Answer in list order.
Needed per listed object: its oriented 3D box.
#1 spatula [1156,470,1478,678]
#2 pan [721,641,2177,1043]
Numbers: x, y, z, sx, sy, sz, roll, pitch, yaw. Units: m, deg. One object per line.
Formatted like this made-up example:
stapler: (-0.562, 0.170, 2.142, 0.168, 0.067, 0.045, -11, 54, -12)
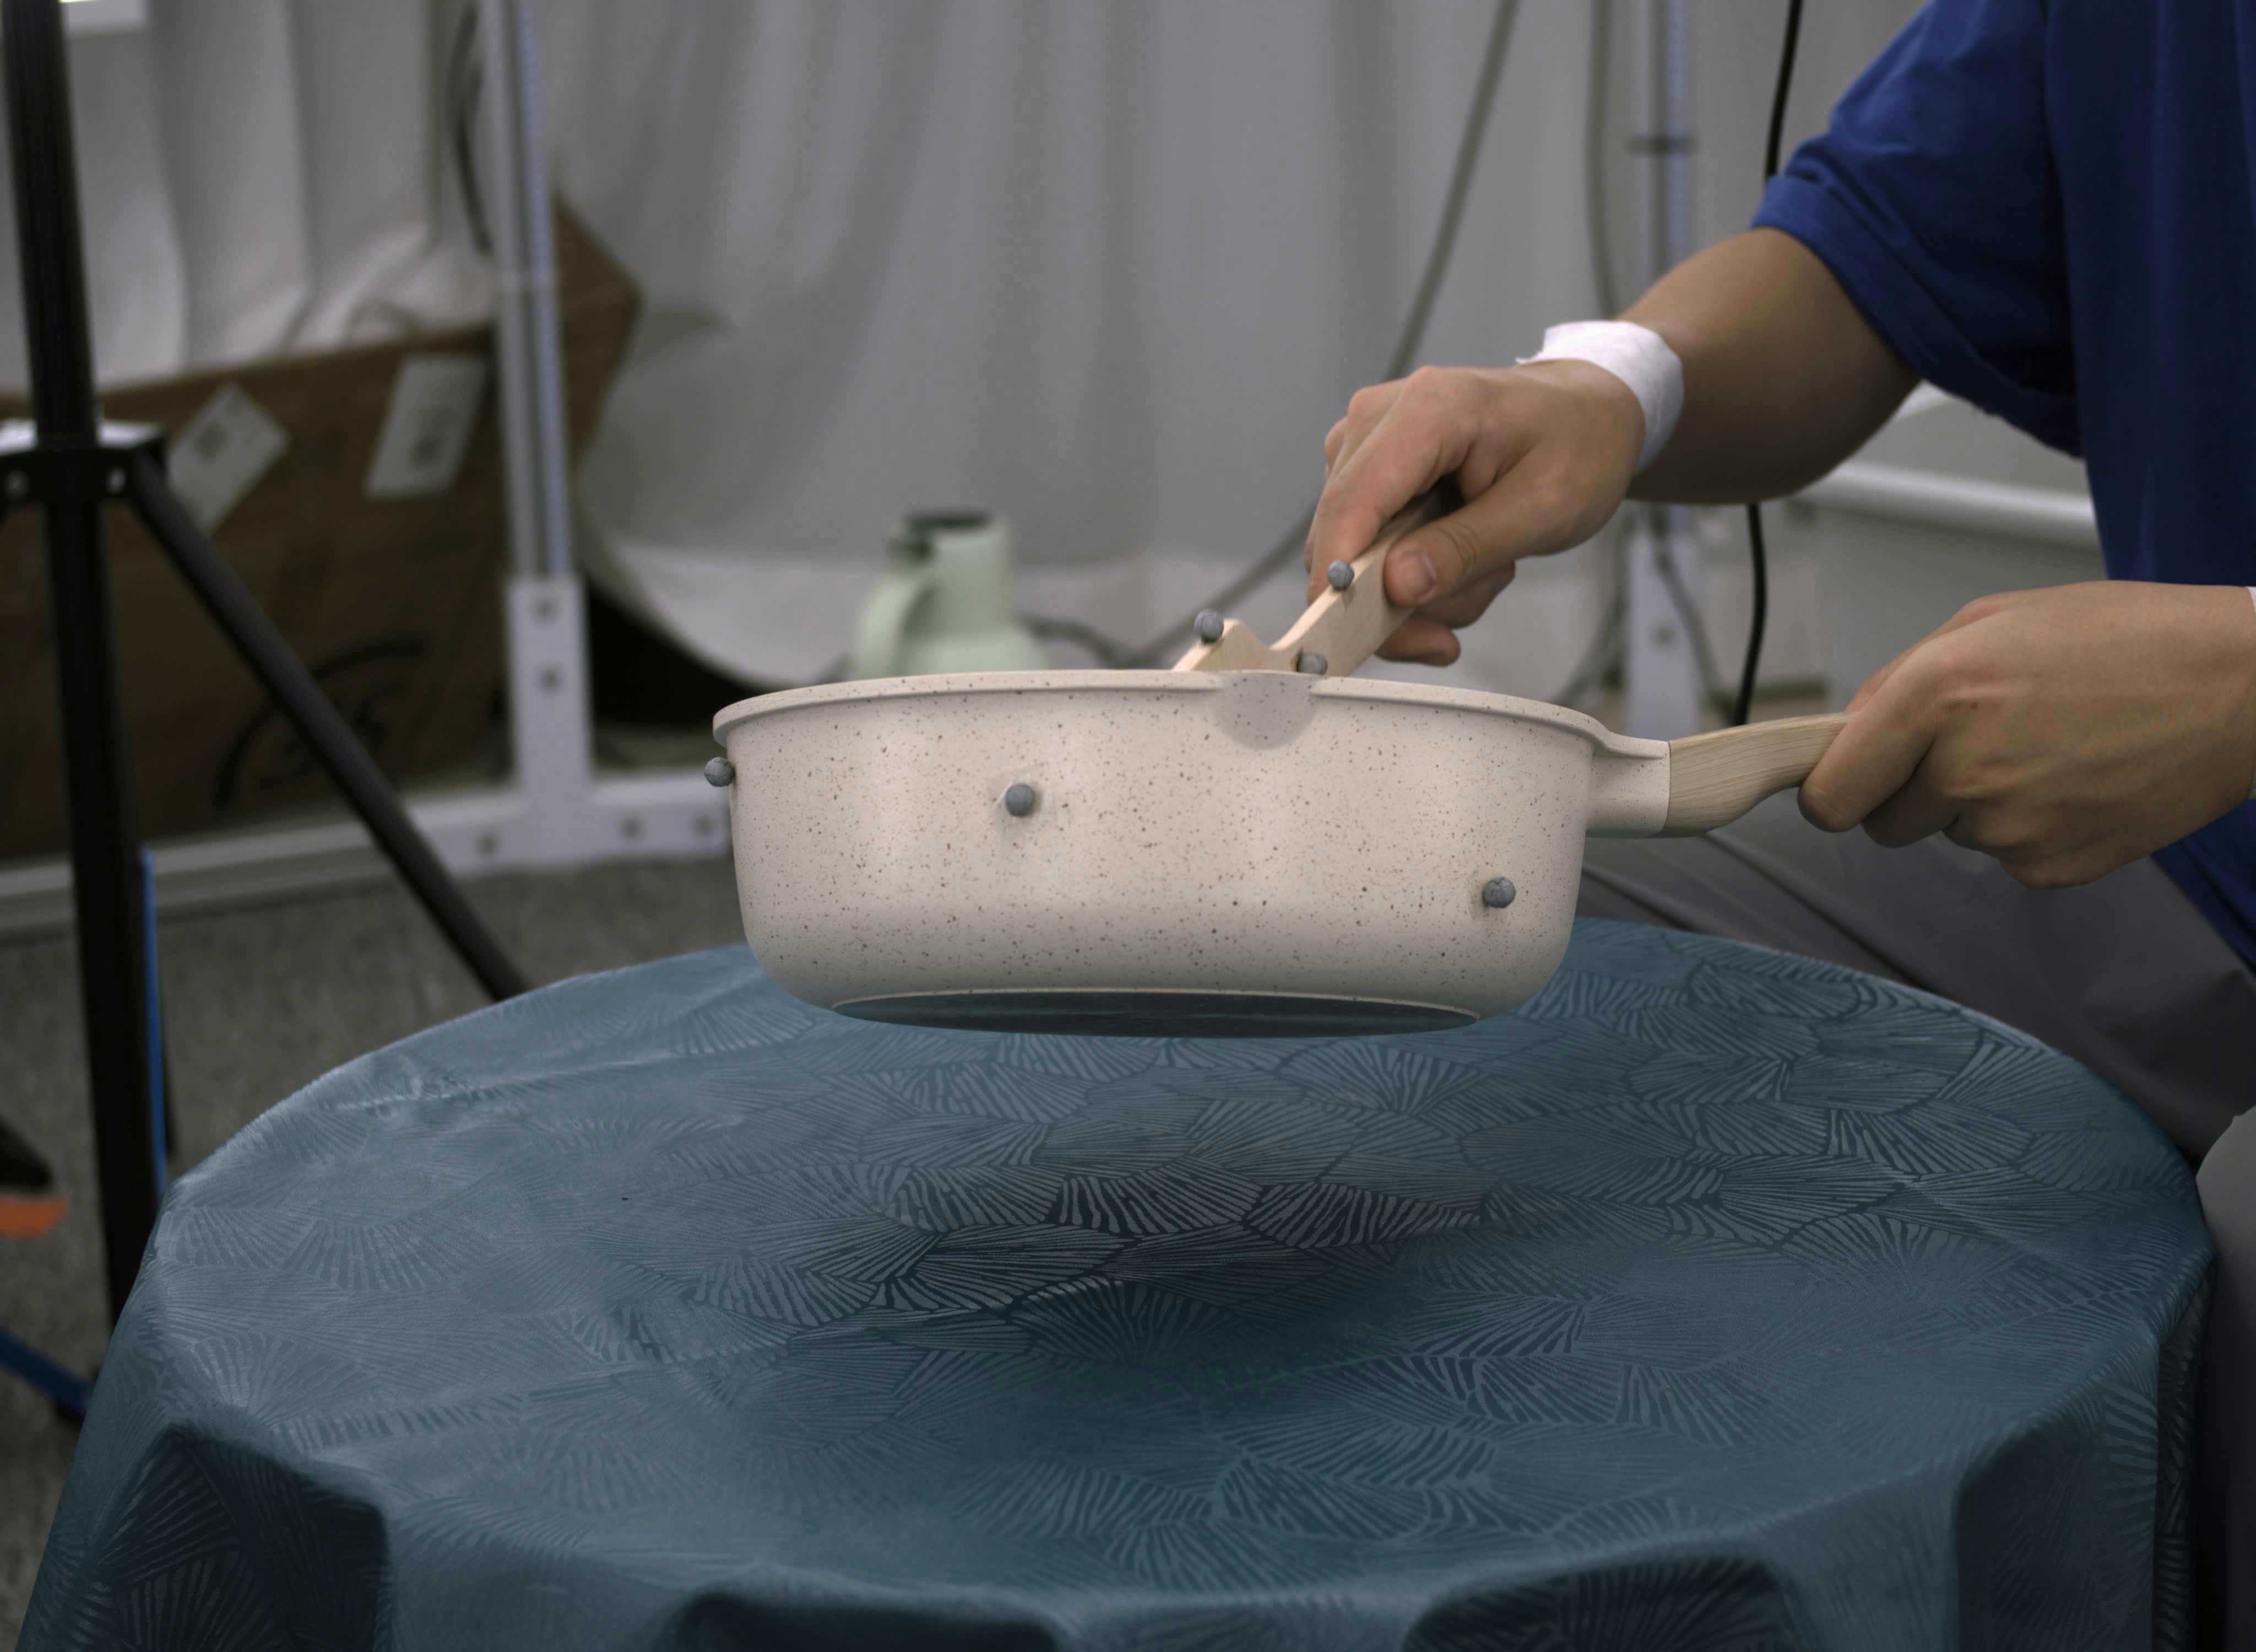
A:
spatula: (0.058, -0.053, 1.579, 0.011, 0.072, 0.290, -2, 20, 23)
pan: (0.099, 0.007, 1.502, 0.428, 0.103, 0.265, 3, -8, -12)
